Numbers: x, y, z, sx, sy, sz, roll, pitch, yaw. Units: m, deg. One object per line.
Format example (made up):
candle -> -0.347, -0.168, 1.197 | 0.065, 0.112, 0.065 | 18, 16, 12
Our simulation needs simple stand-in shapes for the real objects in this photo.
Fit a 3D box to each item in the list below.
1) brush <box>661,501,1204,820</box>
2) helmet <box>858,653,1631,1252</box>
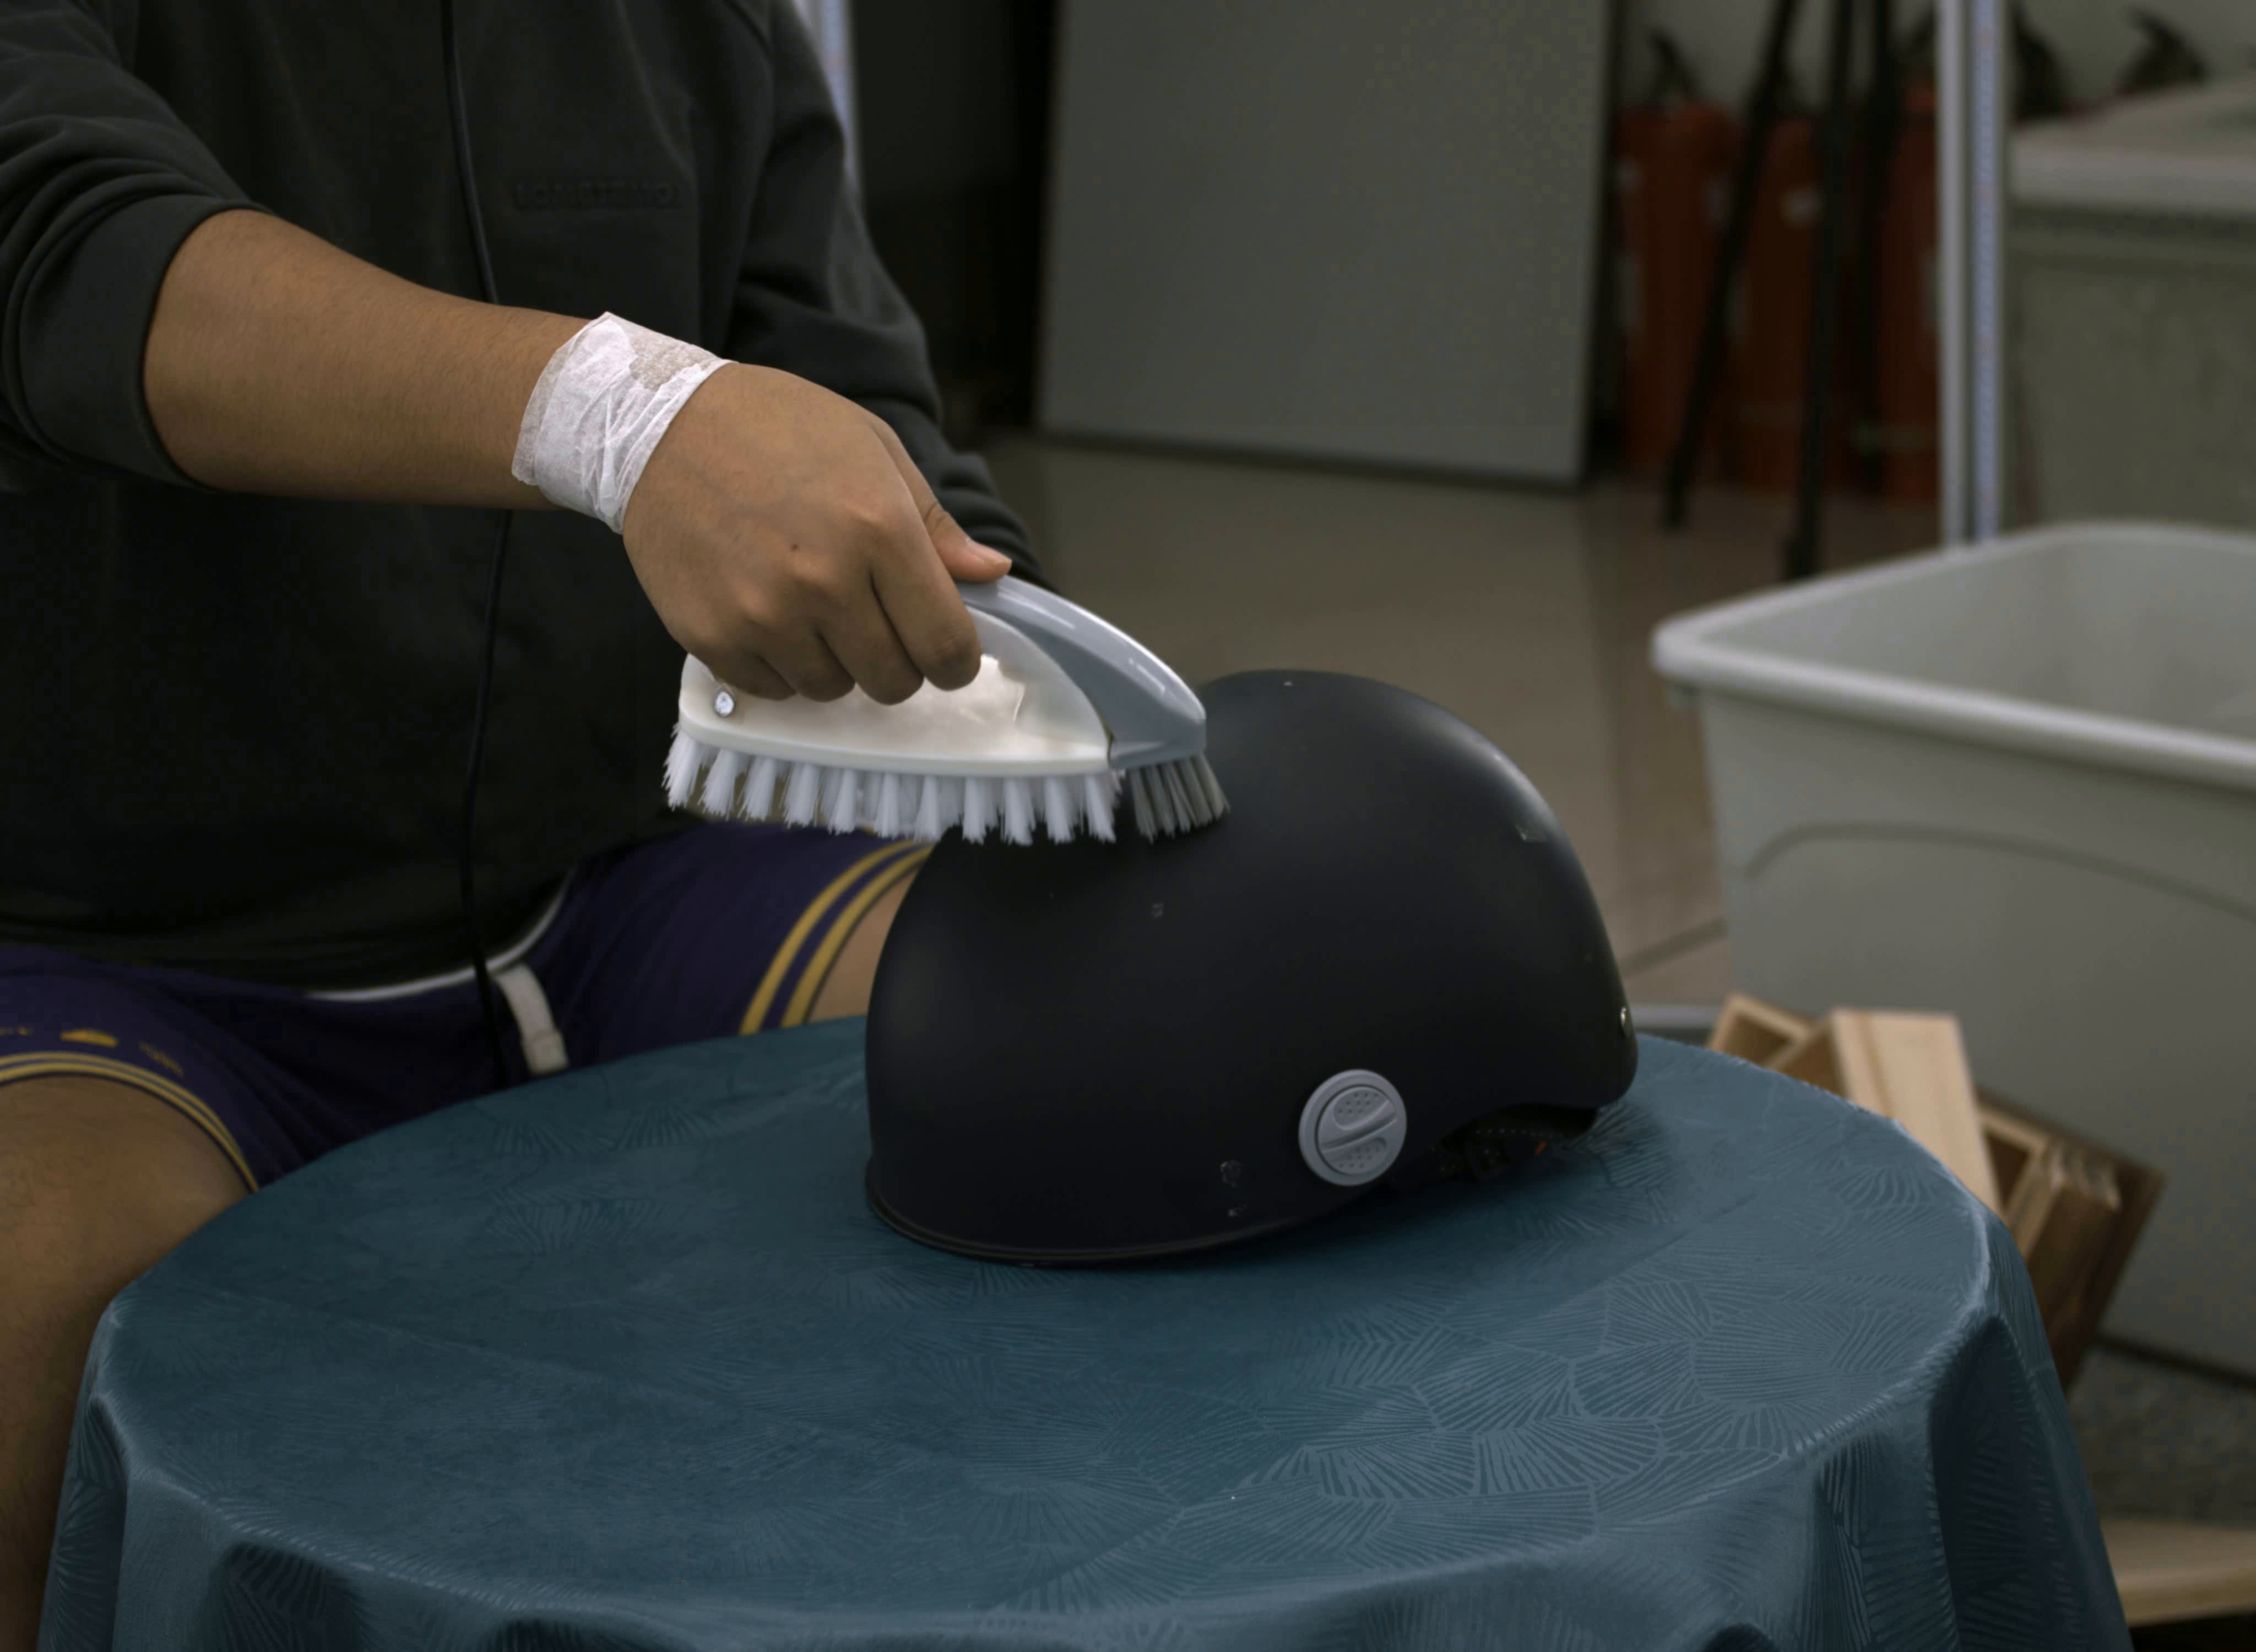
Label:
brush -> -0.056, -0.054, 1.683 | 0.173, 0.095, 0.061 | 12, 41, 2
helmet -> 0.033, 0.033, 1.784 | 0.267, 0.168, 0.232 | -15, 16, -31
